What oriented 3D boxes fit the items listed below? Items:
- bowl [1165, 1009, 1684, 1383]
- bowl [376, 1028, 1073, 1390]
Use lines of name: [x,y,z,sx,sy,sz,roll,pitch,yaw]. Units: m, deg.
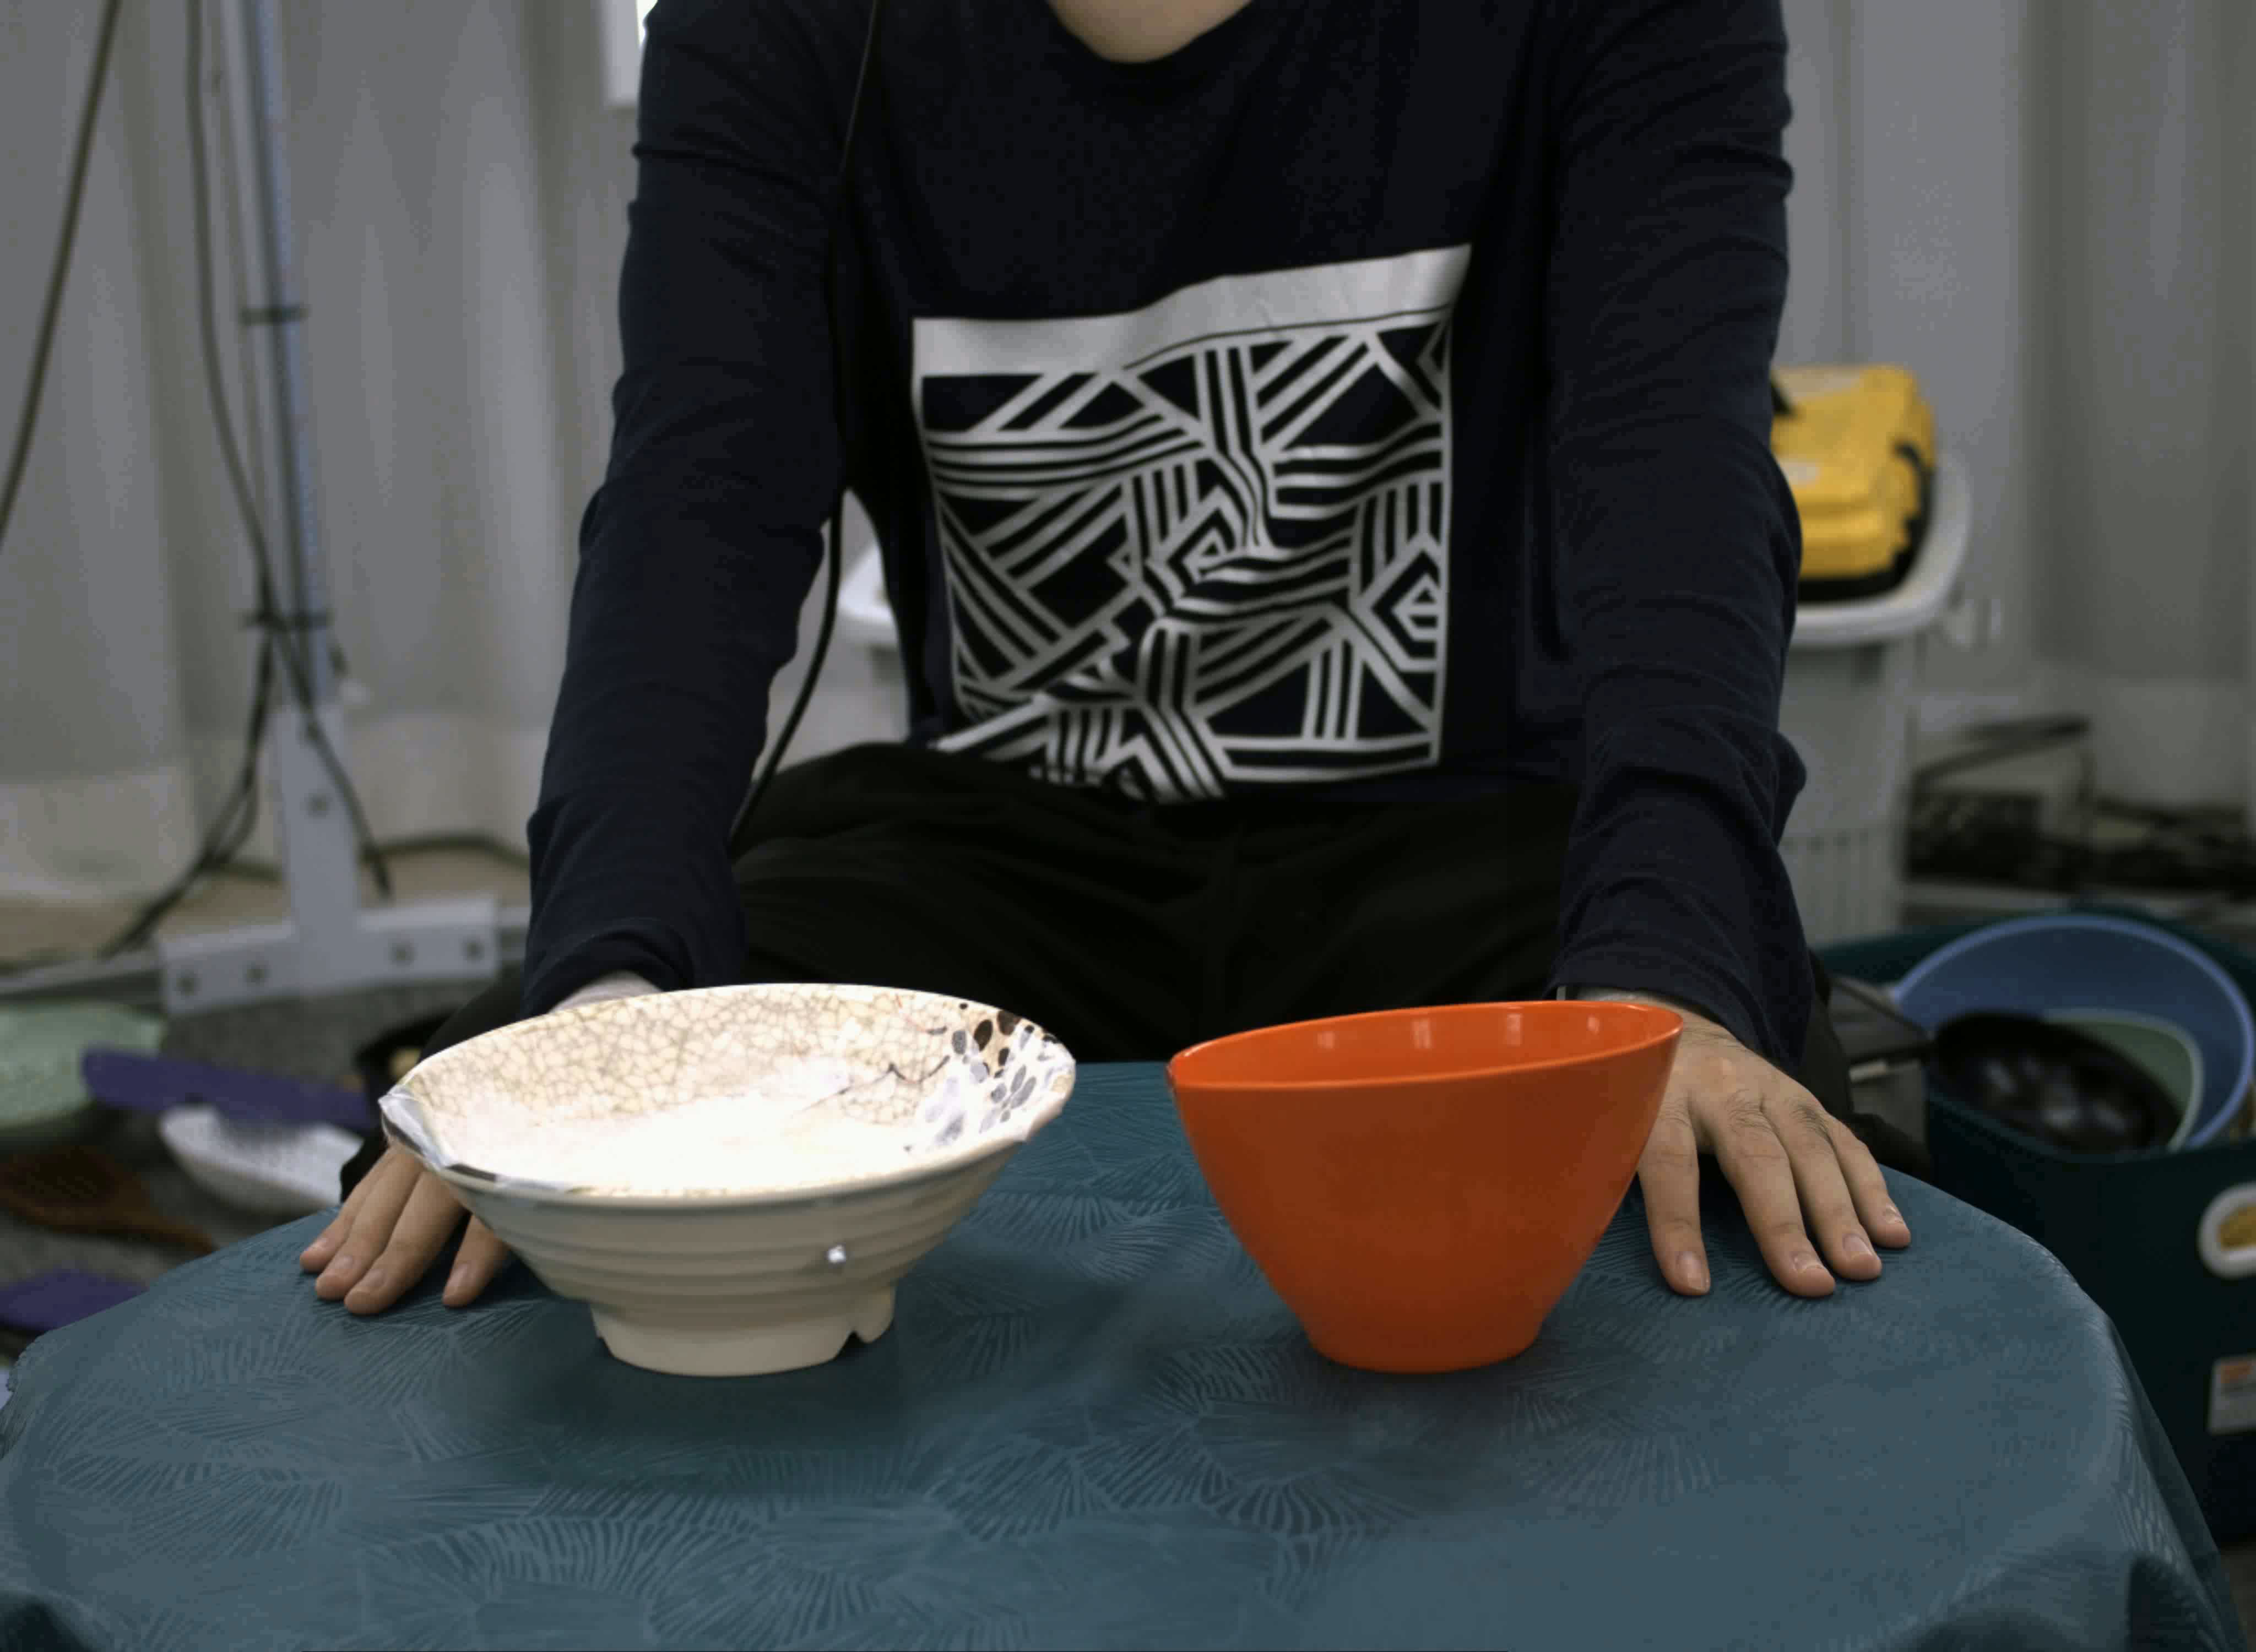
bowl: [0.085,0.102,1.556,0.147,0.104,0.149,-3,12,0]
bowl: [-0.117,0.117,1.603,0.203,0.078,0.205,0,9,0]
